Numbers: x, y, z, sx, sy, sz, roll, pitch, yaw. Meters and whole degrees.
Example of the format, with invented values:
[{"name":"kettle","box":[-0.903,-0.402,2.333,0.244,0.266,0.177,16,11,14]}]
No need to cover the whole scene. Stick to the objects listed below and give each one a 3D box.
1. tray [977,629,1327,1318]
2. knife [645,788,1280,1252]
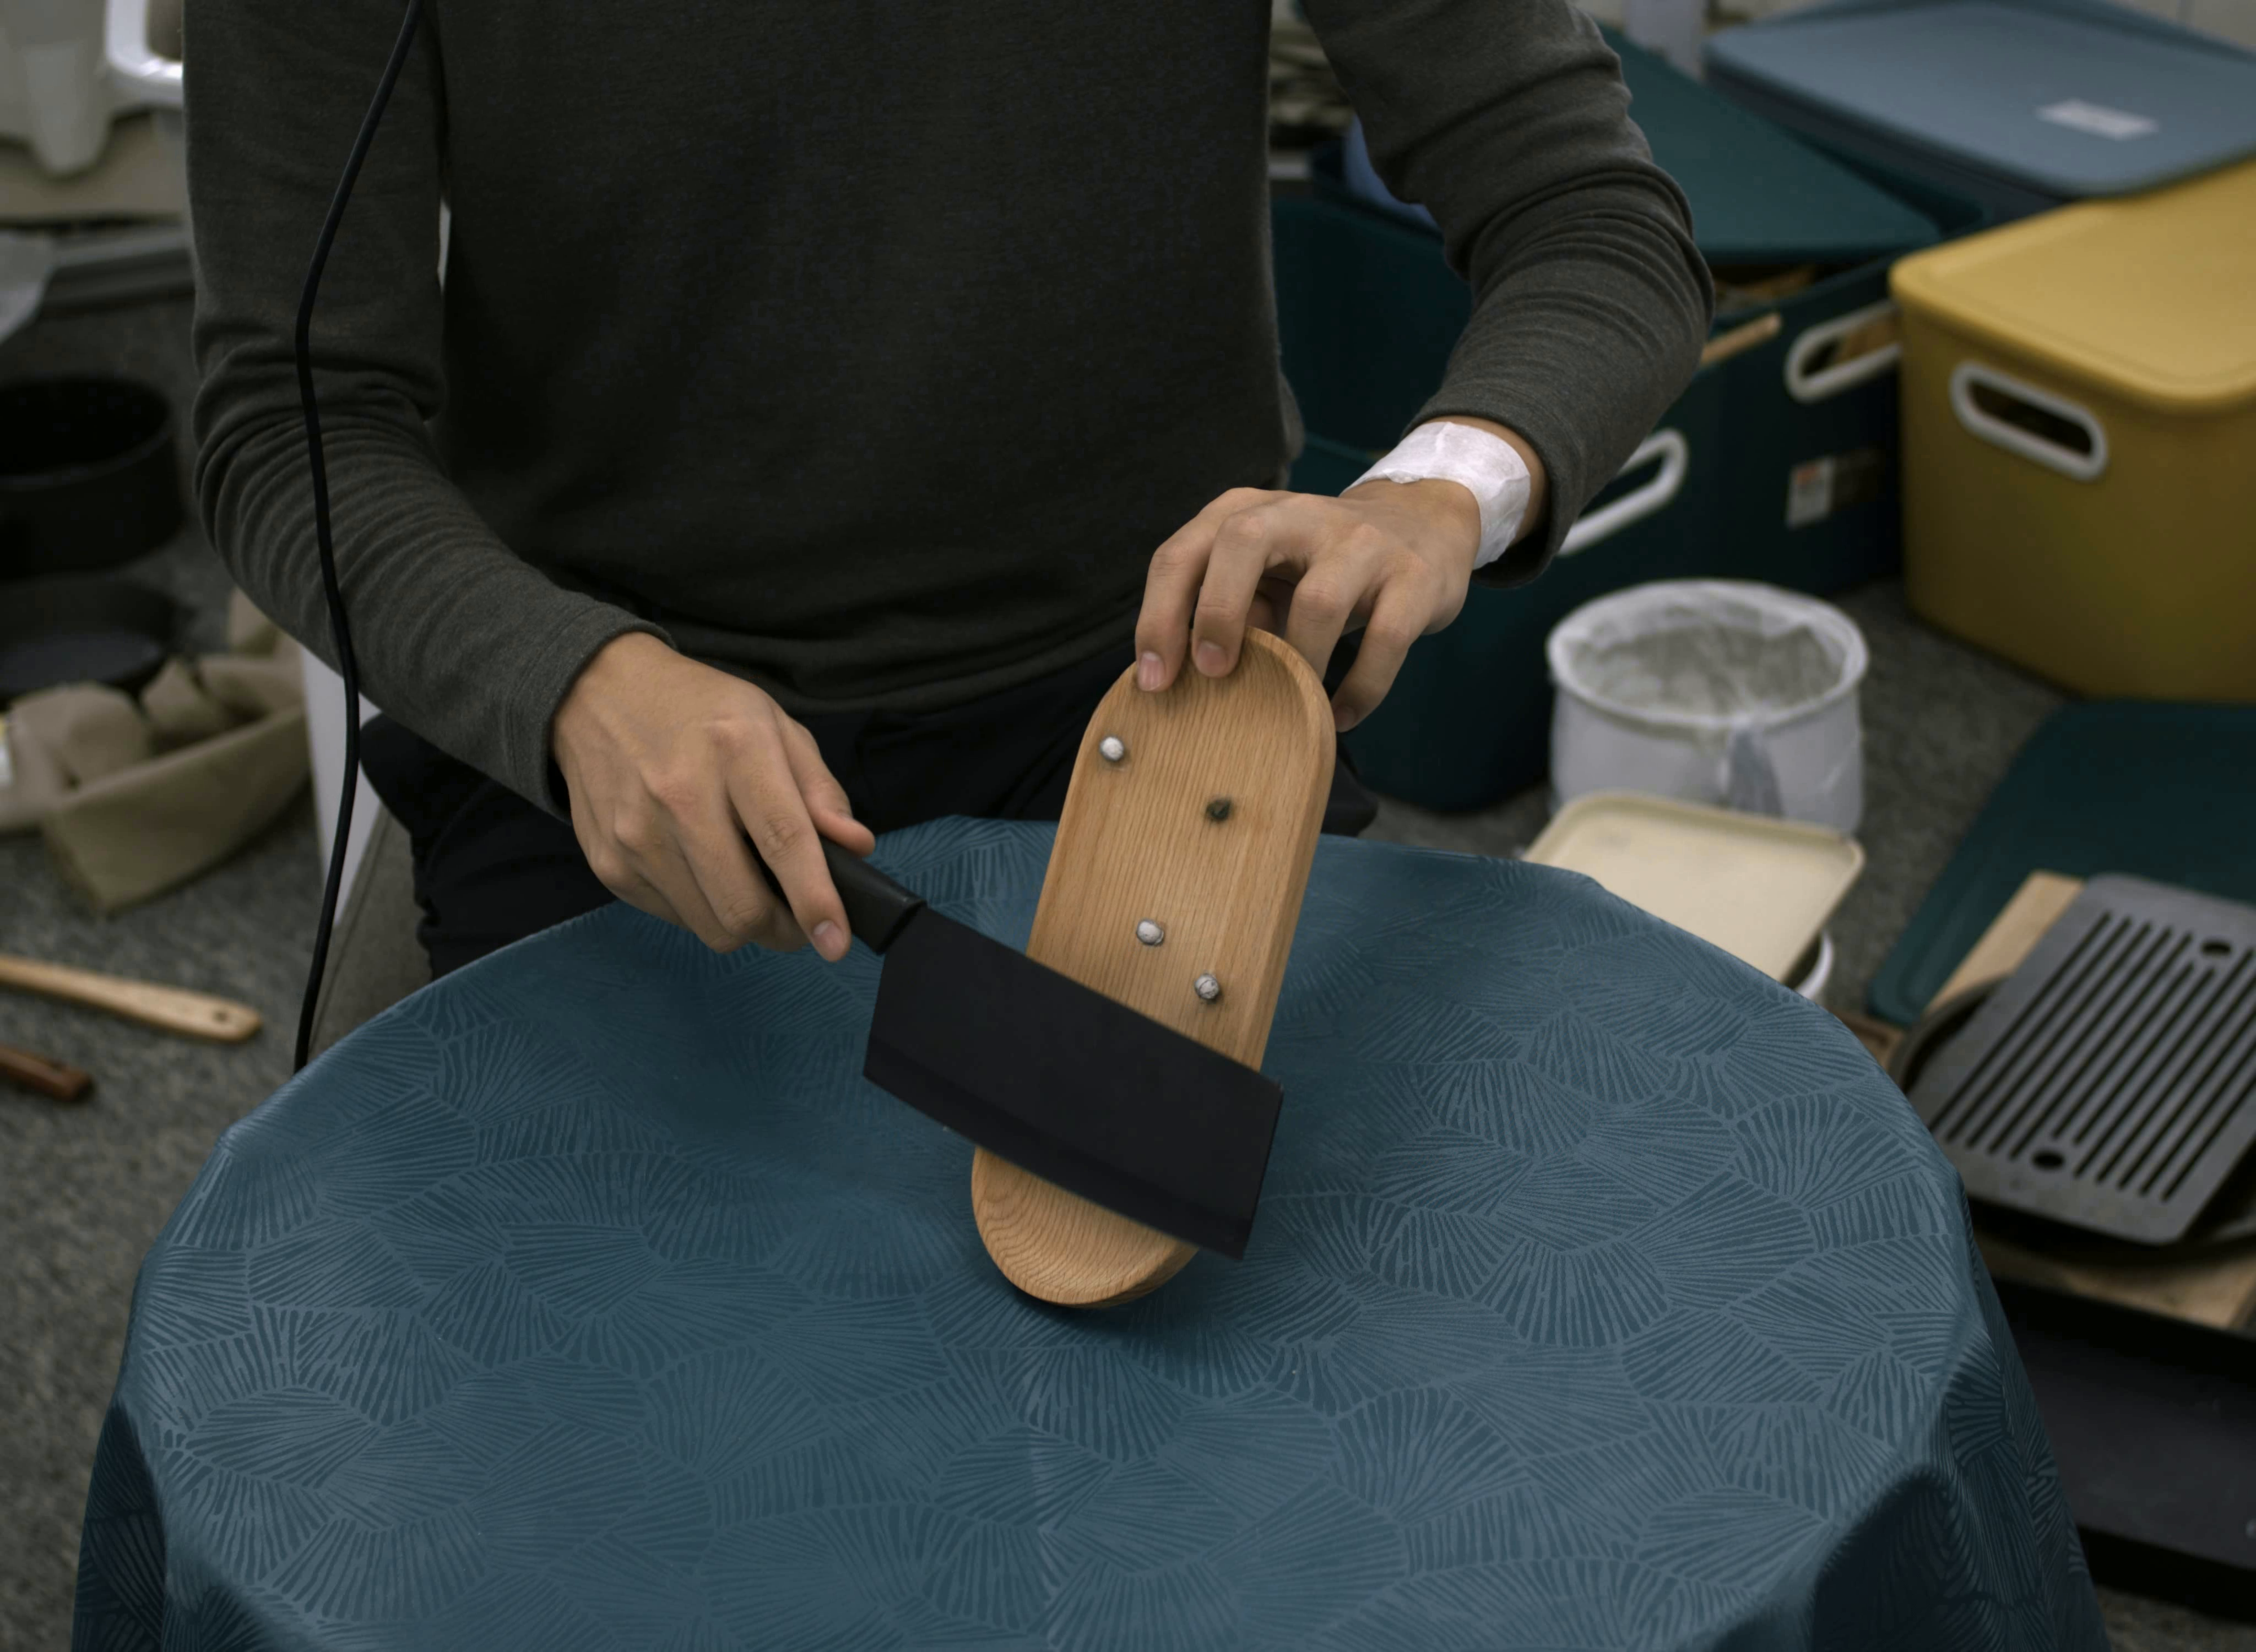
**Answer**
[{"name":"tray","box":[0.009,0.047,1.817,0.100,0.234,0.020,-2,-20,40]},{"name":"knife","box":[-0.059,0.057,1.829,0.021,0.080,0.302,1,22,-46]}]
